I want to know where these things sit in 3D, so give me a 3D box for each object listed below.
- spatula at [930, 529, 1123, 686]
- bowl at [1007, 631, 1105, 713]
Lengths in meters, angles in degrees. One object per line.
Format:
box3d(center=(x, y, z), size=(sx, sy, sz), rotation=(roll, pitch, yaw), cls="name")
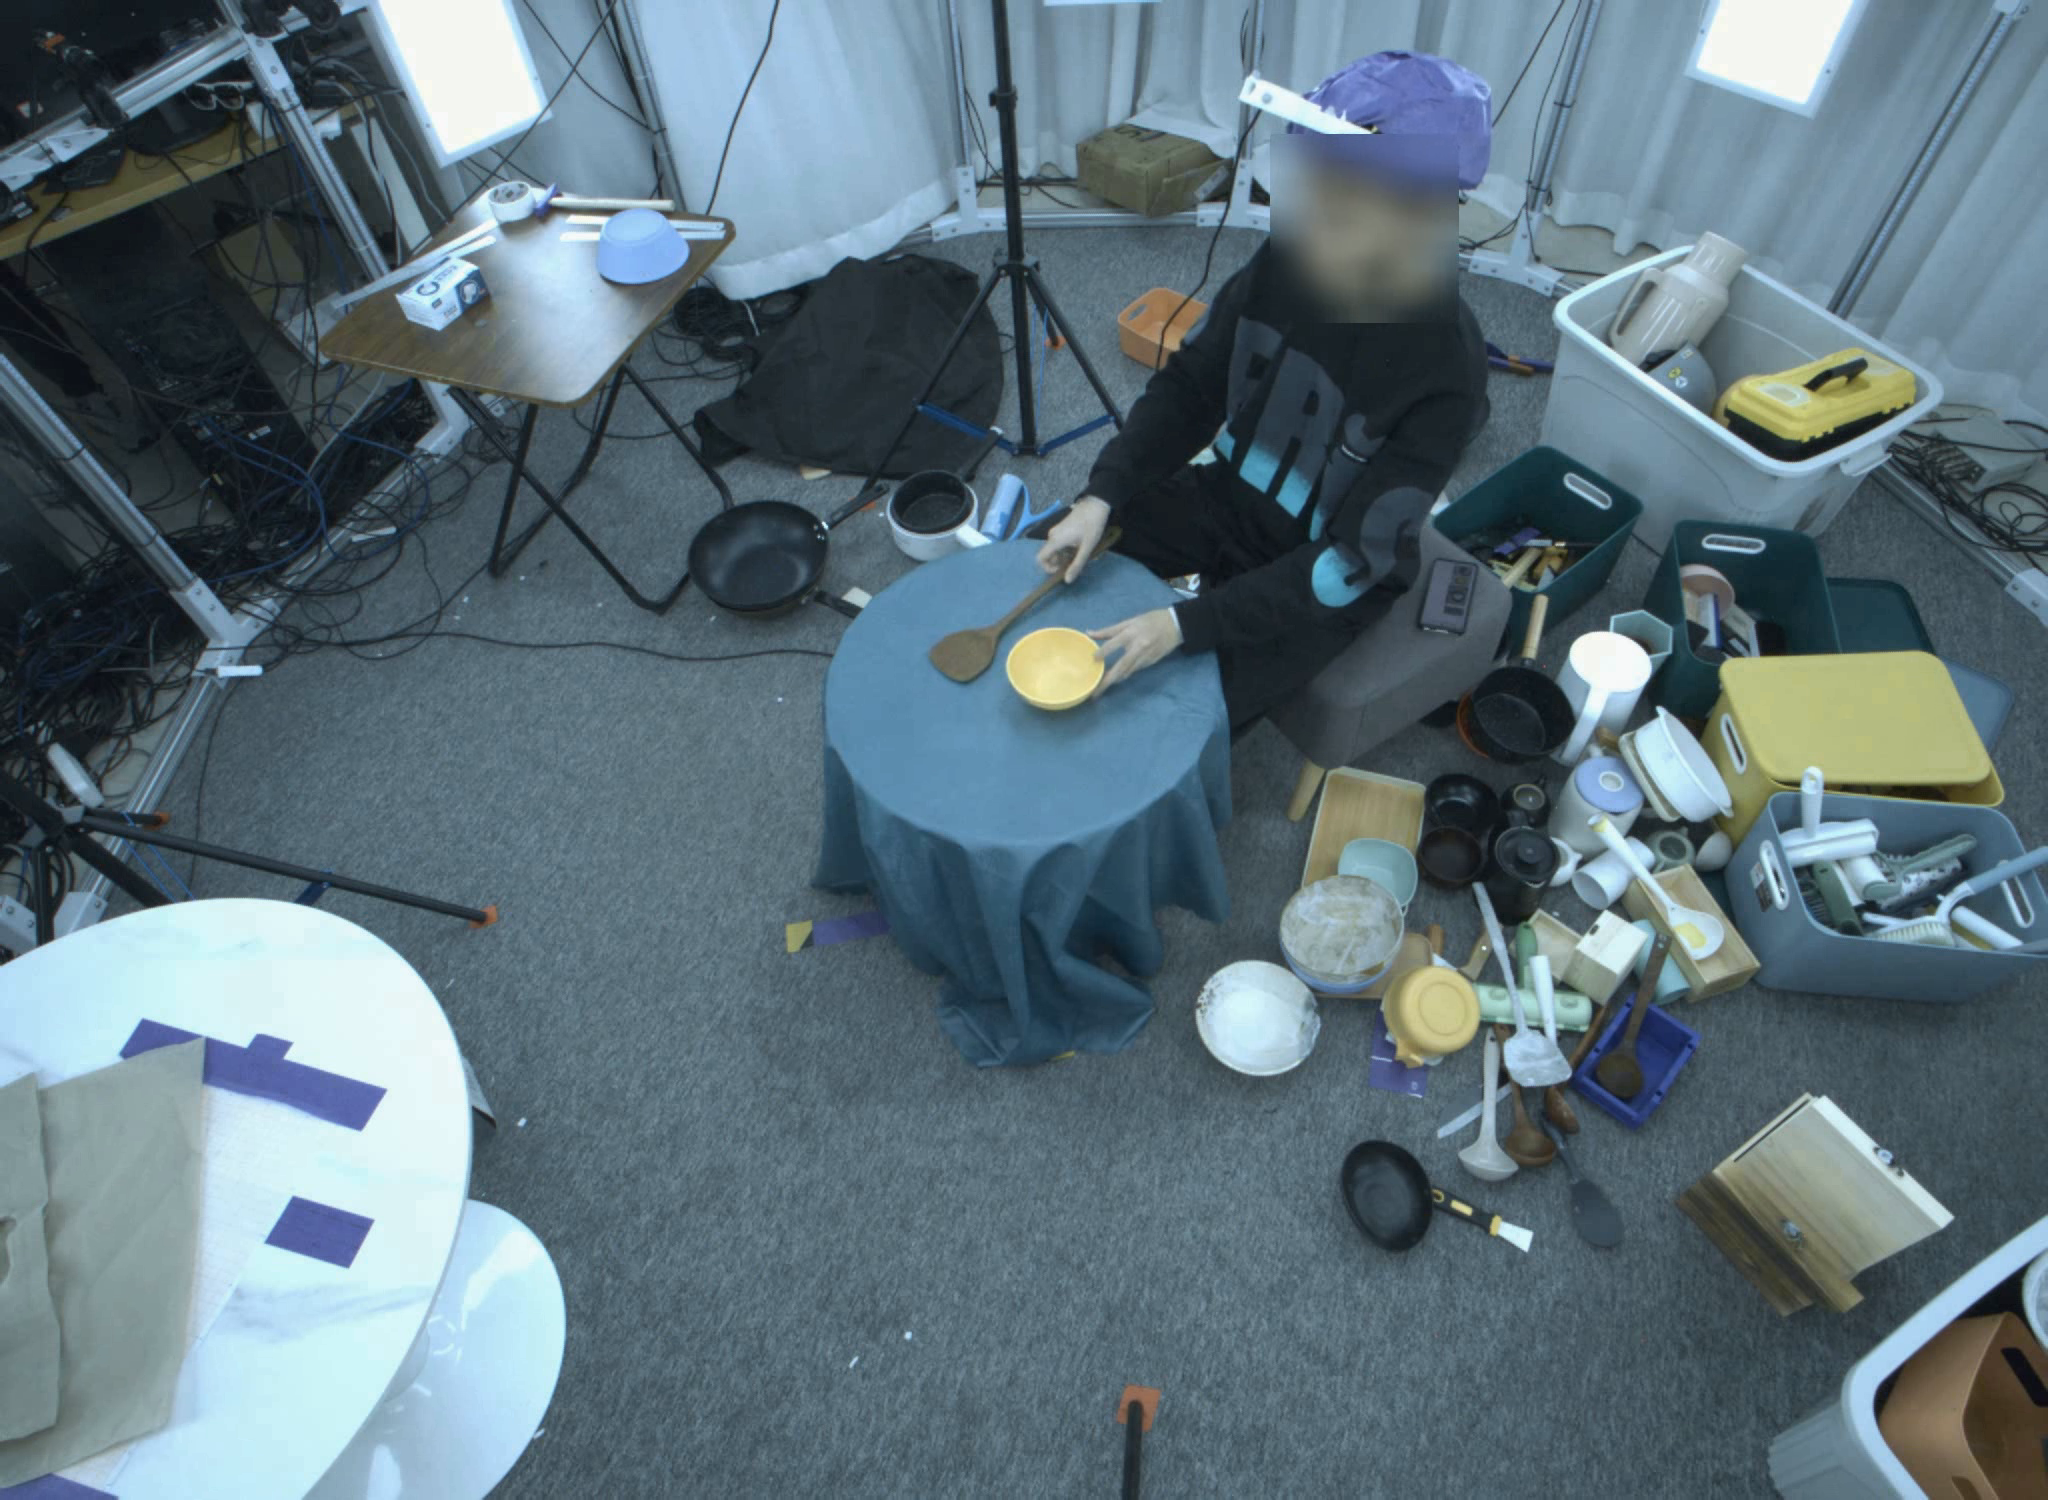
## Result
box3d(center=(0.015, -0.236, 1.937), size=(0.388, 0.016, 0.094), rotation=(-41, 63, -16), cls="spatula")
box3d(center=(0.048, -0.105, 1.836), size=(0.145, 0.060, 0.144), rotation=(1, 55, 0), cls="bowl")
